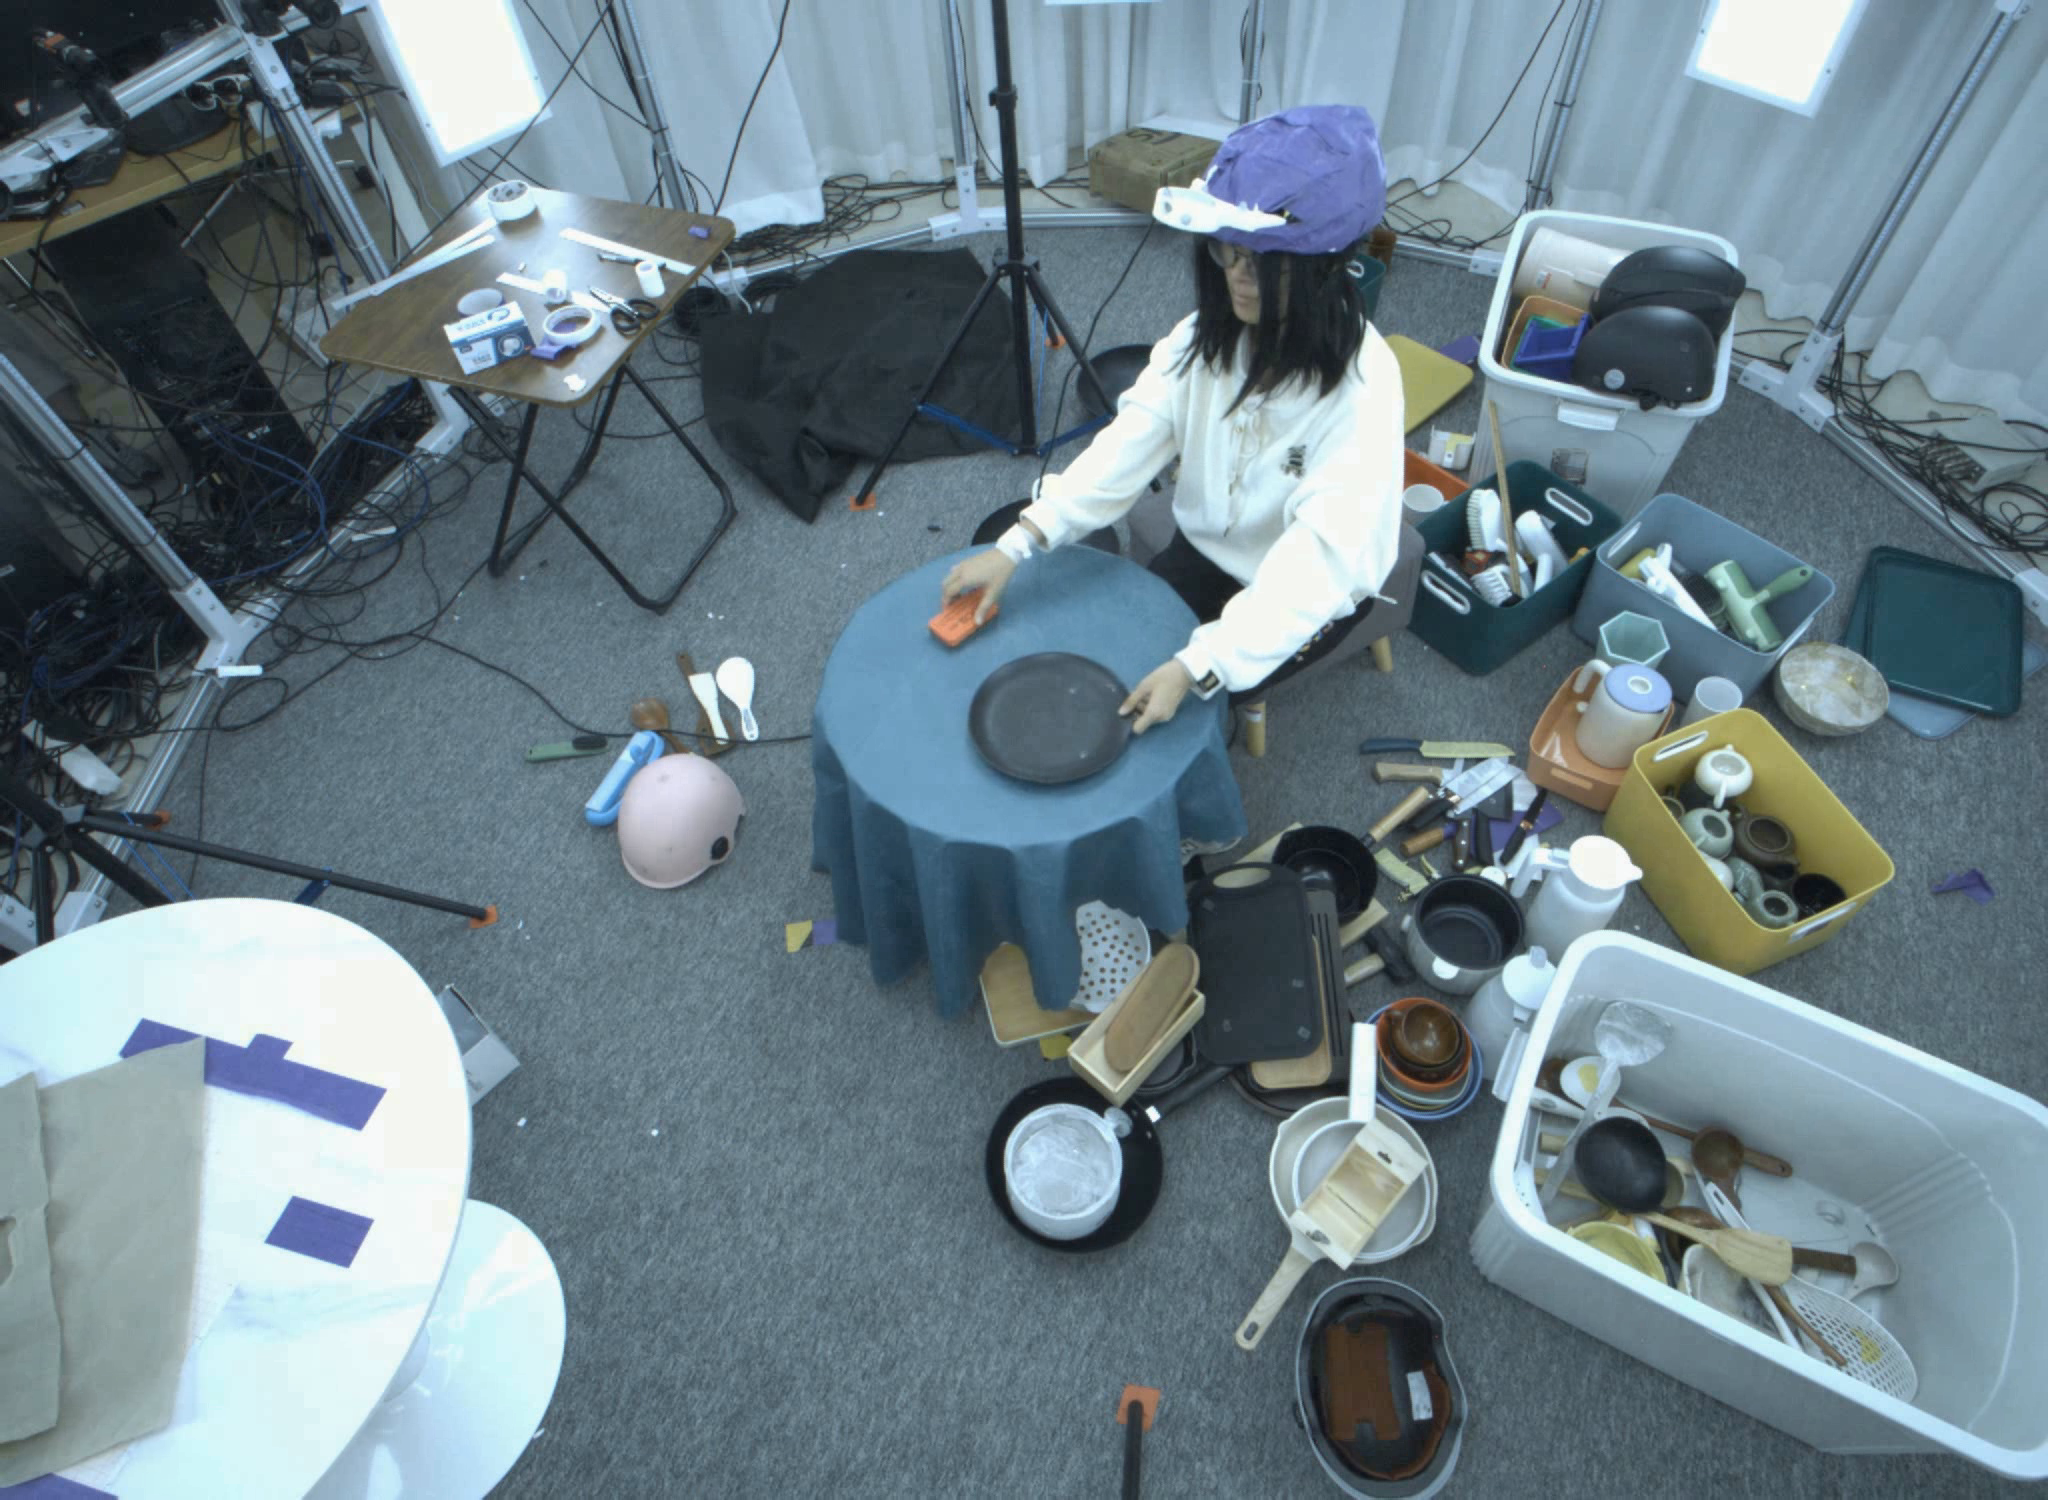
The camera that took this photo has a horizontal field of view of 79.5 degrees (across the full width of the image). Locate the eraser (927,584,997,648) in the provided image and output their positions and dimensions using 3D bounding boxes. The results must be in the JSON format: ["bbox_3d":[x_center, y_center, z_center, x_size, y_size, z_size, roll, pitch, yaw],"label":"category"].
[{"bbox_3d":[-0.097,-0.211,1.921,0.058,0.023,0.108,38,67,22],"label":"eraser"}]

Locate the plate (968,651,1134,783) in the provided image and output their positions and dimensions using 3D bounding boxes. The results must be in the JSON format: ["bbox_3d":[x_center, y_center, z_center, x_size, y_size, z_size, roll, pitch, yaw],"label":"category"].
[{"bbox_3d":[0.040,-0.046,1.805,0.244,0.024,0.242,0,55,2],"label":"plate"}]
